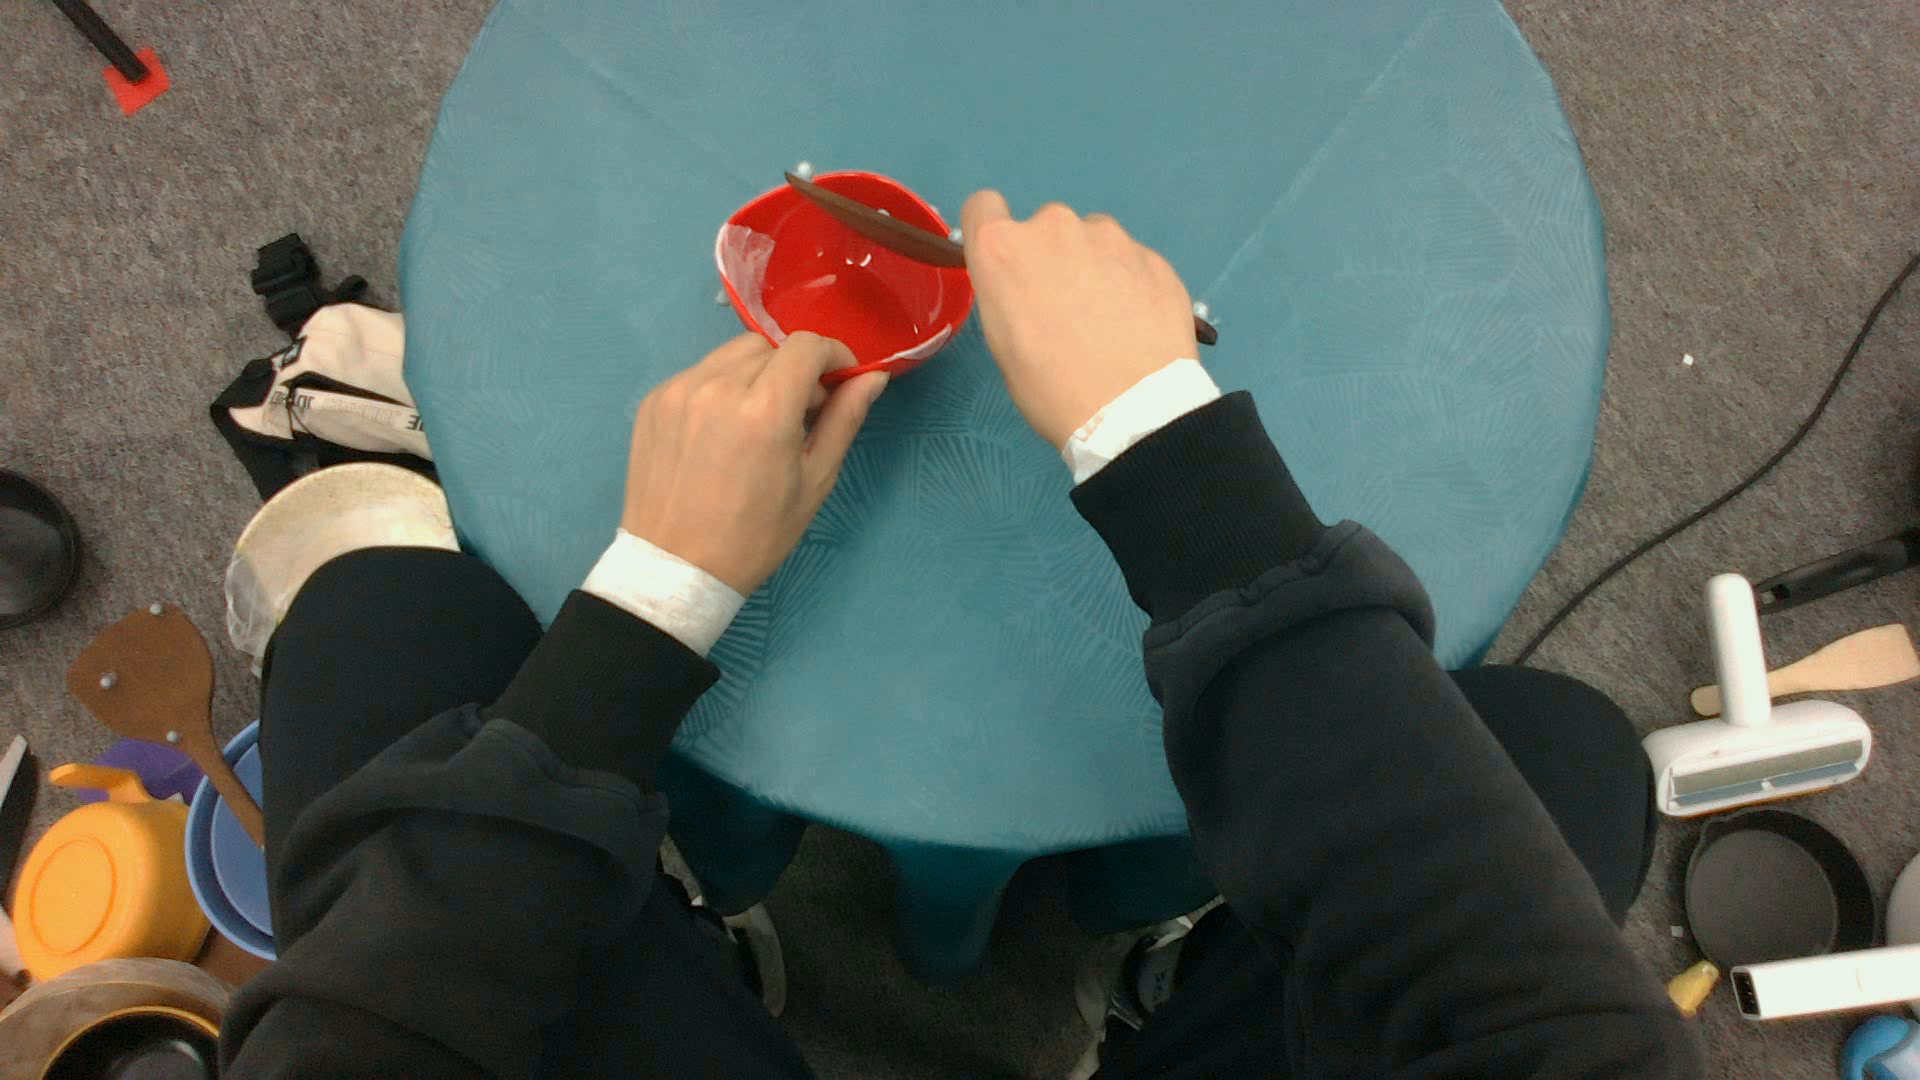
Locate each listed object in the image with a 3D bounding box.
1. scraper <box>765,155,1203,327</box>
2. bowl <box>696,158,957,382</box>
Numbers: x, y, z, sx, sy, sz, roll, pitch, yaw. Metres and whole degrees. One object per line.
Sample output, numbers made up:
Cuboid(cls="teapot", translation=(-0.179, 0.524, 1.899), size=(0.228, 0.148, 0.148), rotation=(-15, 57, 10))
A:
Cuboid(cls="scraper", translation=(0.008, -0.126, 0.592), size=(0.211, 0.076, 0.011), rotation=(24, 92, 27))
Cuboid(cls="bowl", translation=(-0.064, -0.118, 0.643), size=(0.119, 0.051, 0.119), rotation=(6, 59, -9))
